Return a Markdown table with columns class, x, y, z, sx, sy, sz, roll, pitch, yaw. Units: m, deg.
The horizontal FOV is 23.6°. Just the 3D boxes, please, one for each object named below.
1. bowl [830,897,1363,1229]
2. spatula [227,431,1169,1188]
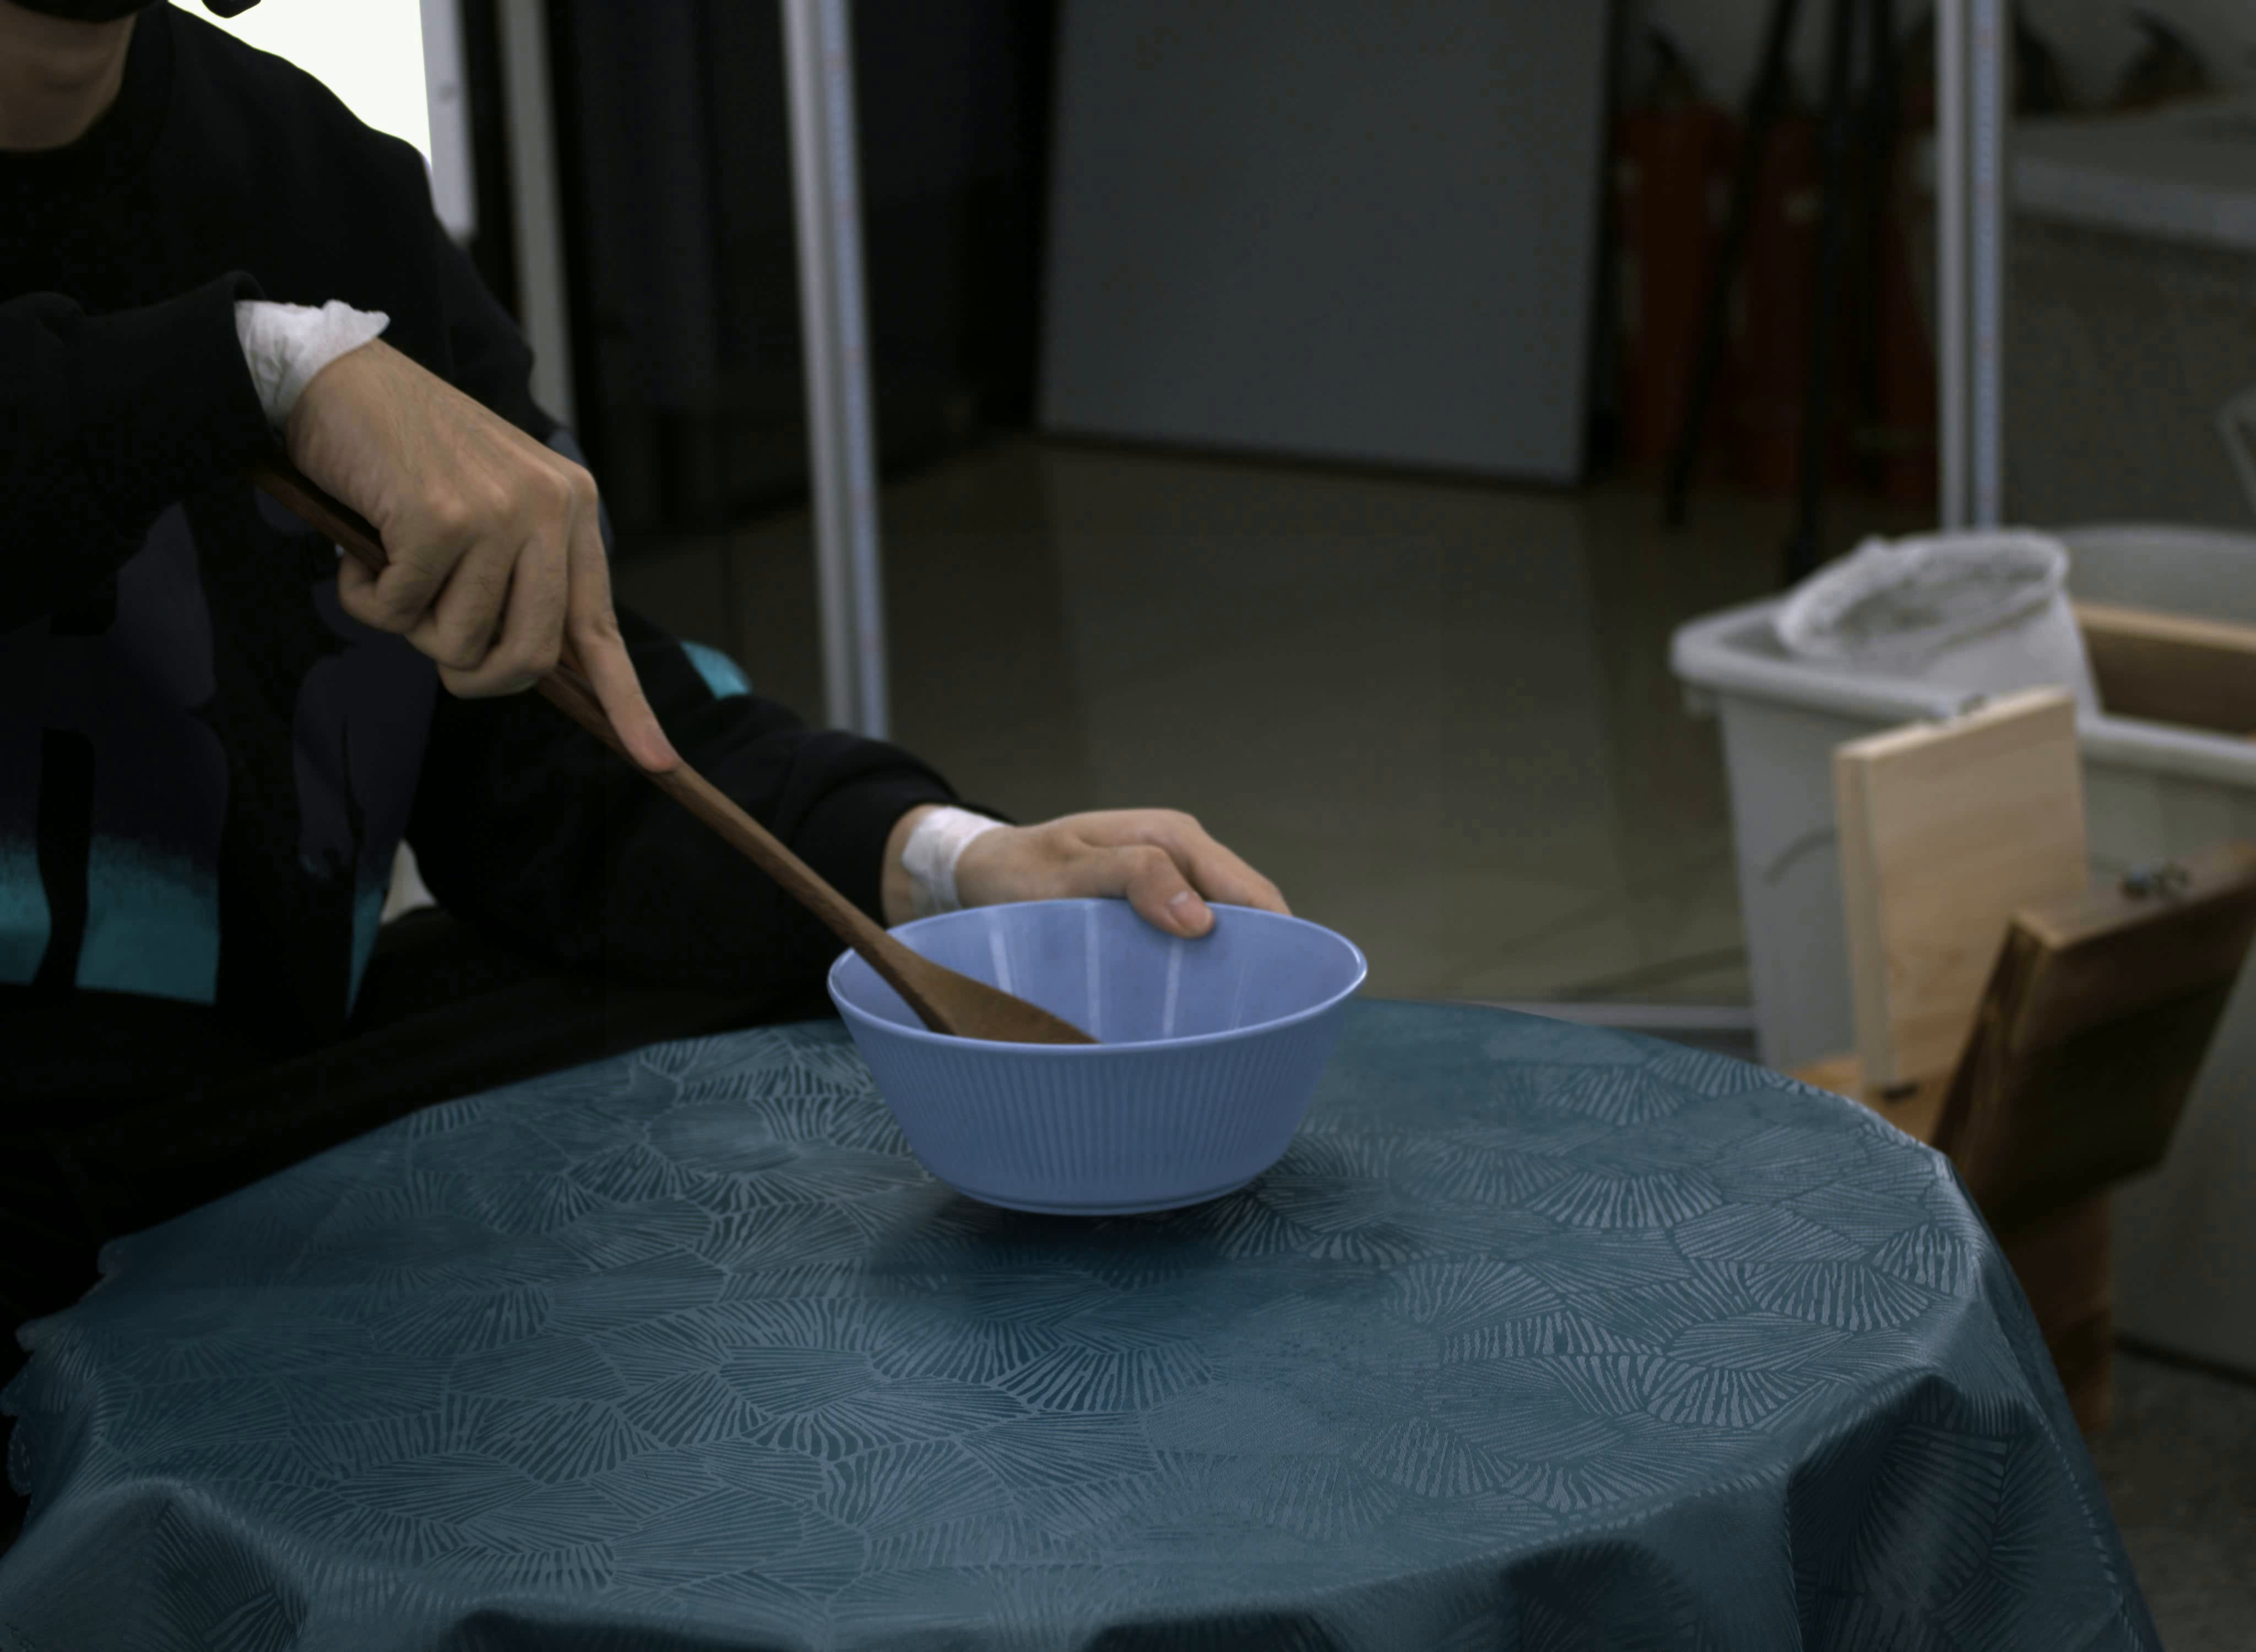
| class | x | y | z | sx | sy | sz | roll | pitch | yaw |
| --- | --- | --- | --- | --- | --- | --- | --- | --- | --- |
| bowl | -0.008 | 0.080 | 1.749 | 0.174 | 0.071 | 0.176 | -5 | 16 | 0 |
| spatula | -0.131 | -0.008 | 1.729 | 0.384 | 0.016 | 0.096 | 38 | 17 | -3 |
